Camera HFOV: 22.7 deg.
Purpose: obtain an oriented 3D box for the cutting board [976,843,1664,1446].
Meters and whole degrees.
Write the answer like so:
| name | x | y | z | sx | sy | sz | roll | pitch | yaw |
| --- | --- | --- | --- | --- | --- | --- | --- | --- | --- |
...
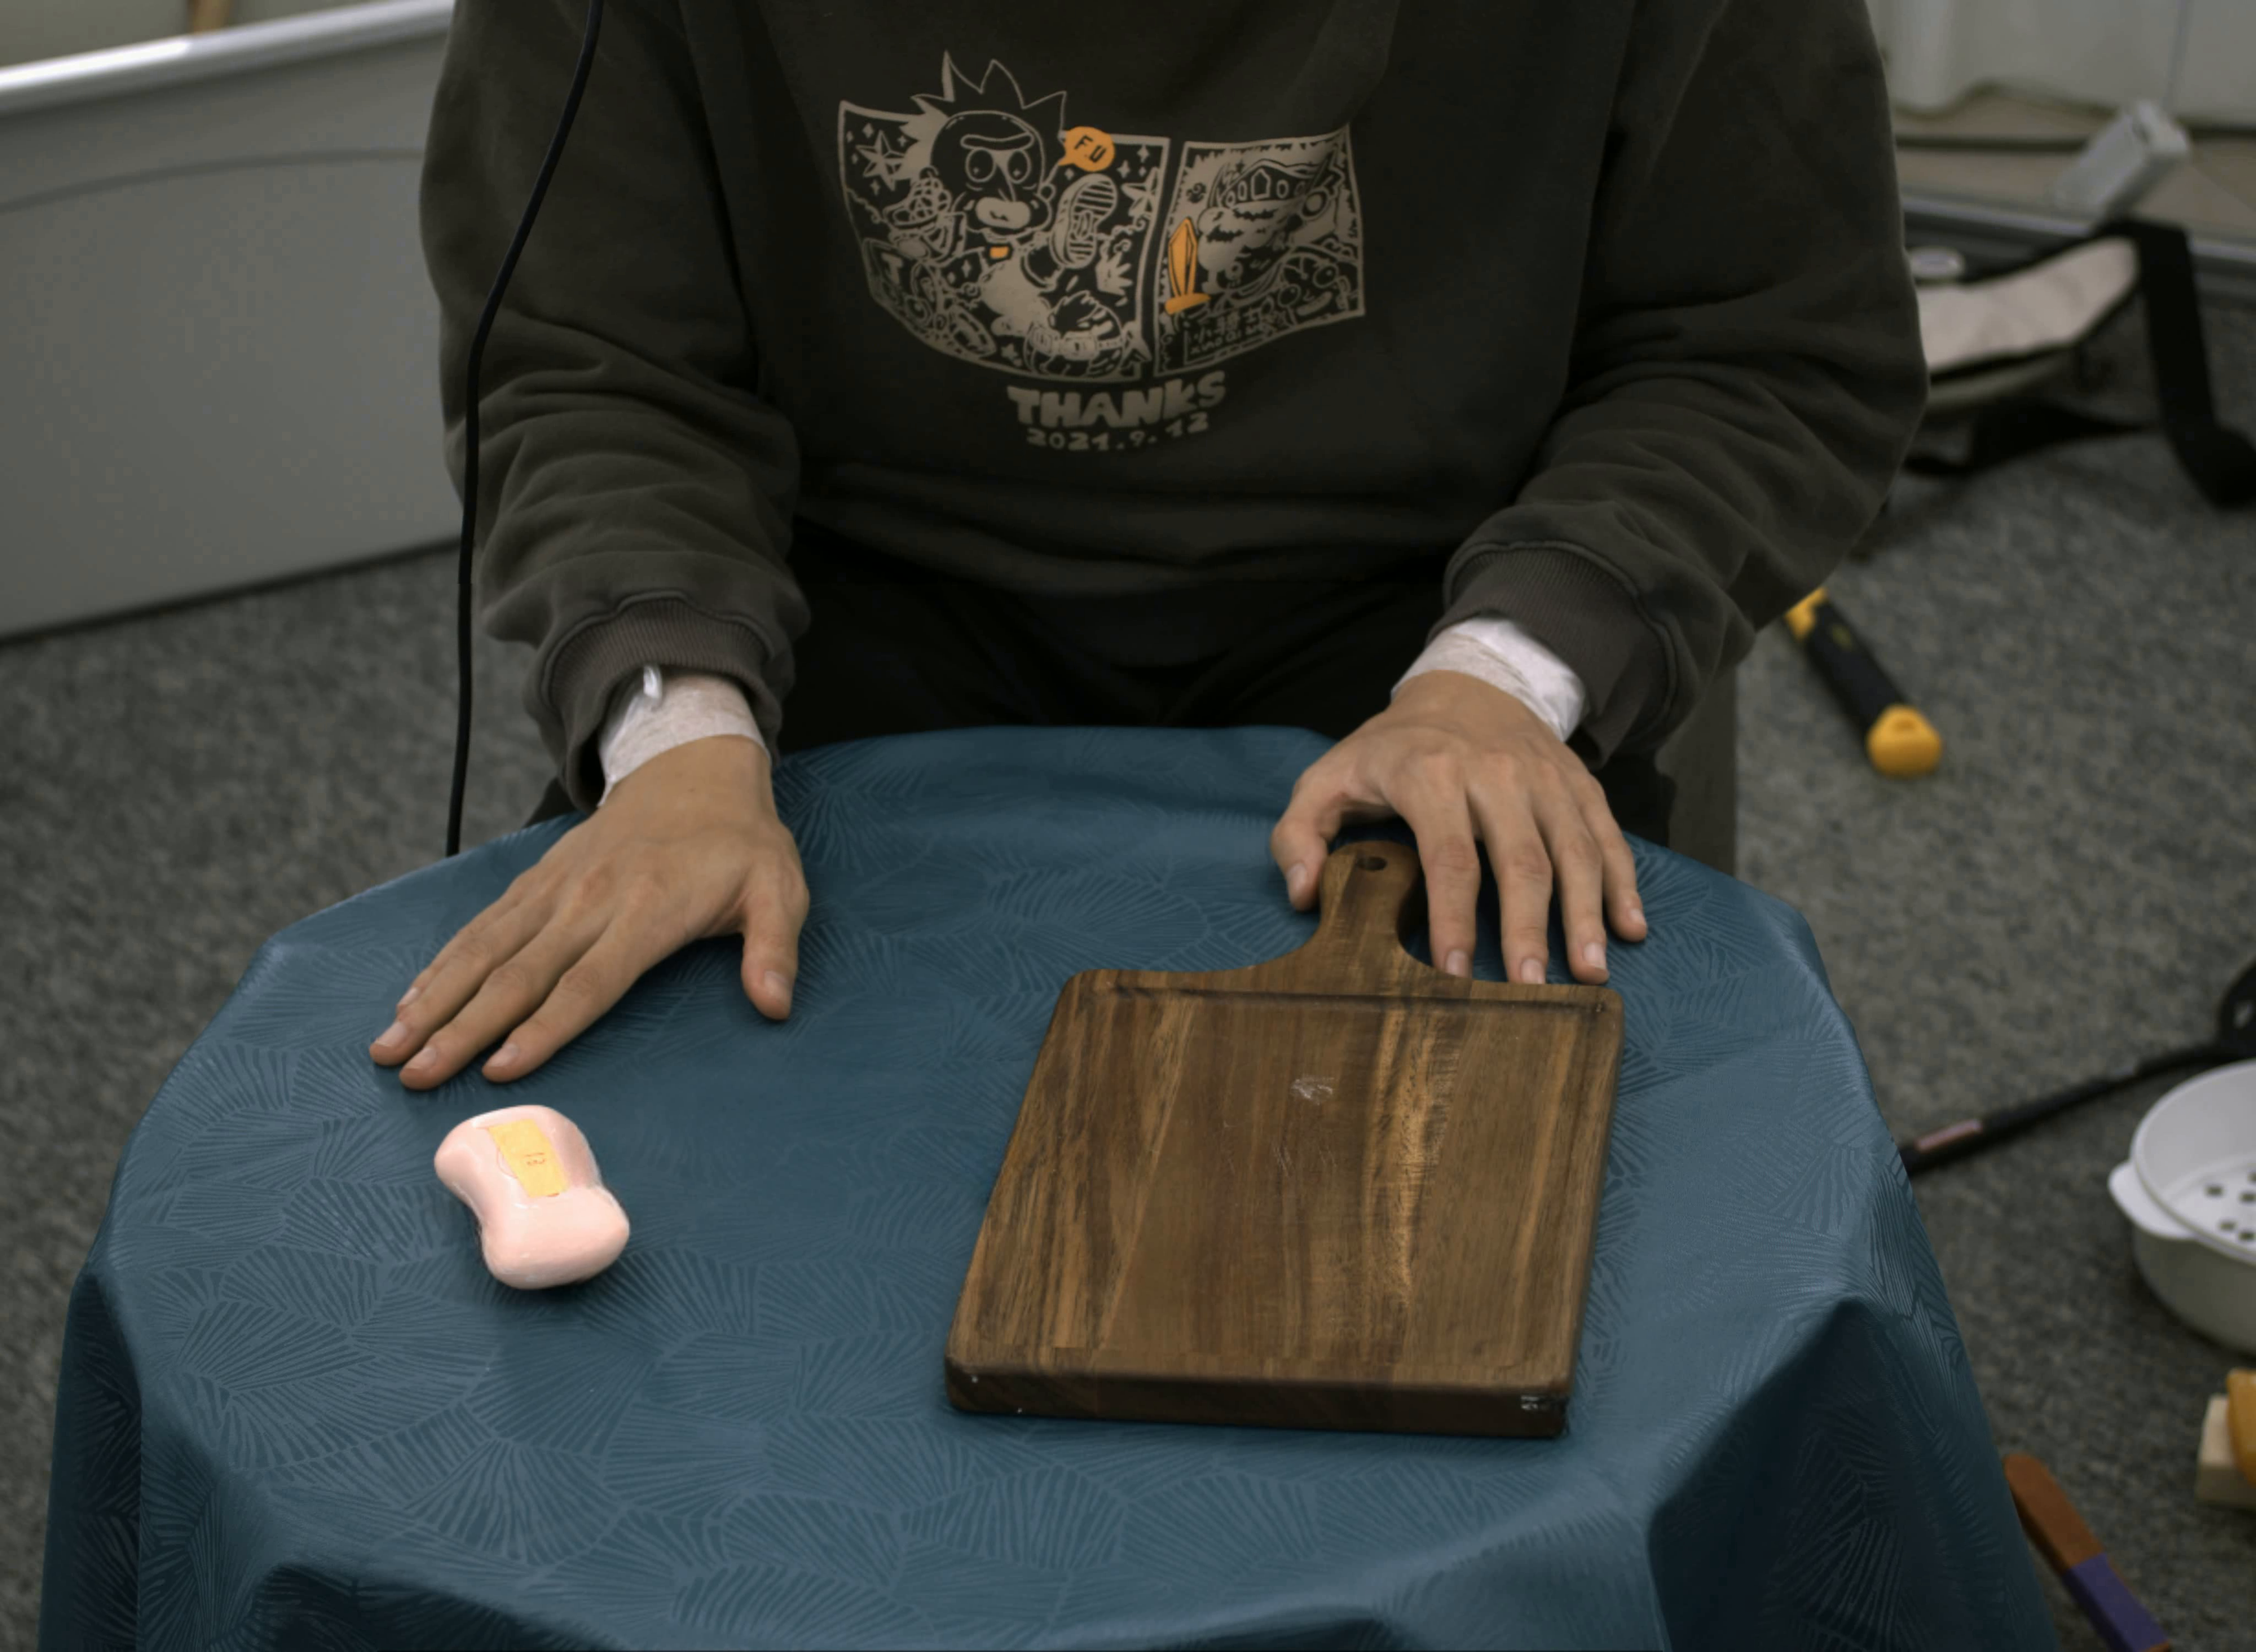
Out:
| name | x | y | z | sx | sy | sz | roll | pitch | yaw |
| --- | --- | --- | --- | --- | --- | --- | --- | --- | --- |
| cutting board | 0.076 | 0.097 | 1.877 | 0.200 | 0.023 | 0.358 | 2 | 28 | 10 |

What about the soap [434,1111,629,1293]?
| name | x | y | z | sx | sy | sz | roll | pitch | yaw |
| --- | --- | --- | --- | --- | --- | --- | --- | --- | --- |
| soap | -0.197 | 0.124 | 1.846 | 0.050 | 0.030 | 0.095 | -11 | 27 | -16 |
